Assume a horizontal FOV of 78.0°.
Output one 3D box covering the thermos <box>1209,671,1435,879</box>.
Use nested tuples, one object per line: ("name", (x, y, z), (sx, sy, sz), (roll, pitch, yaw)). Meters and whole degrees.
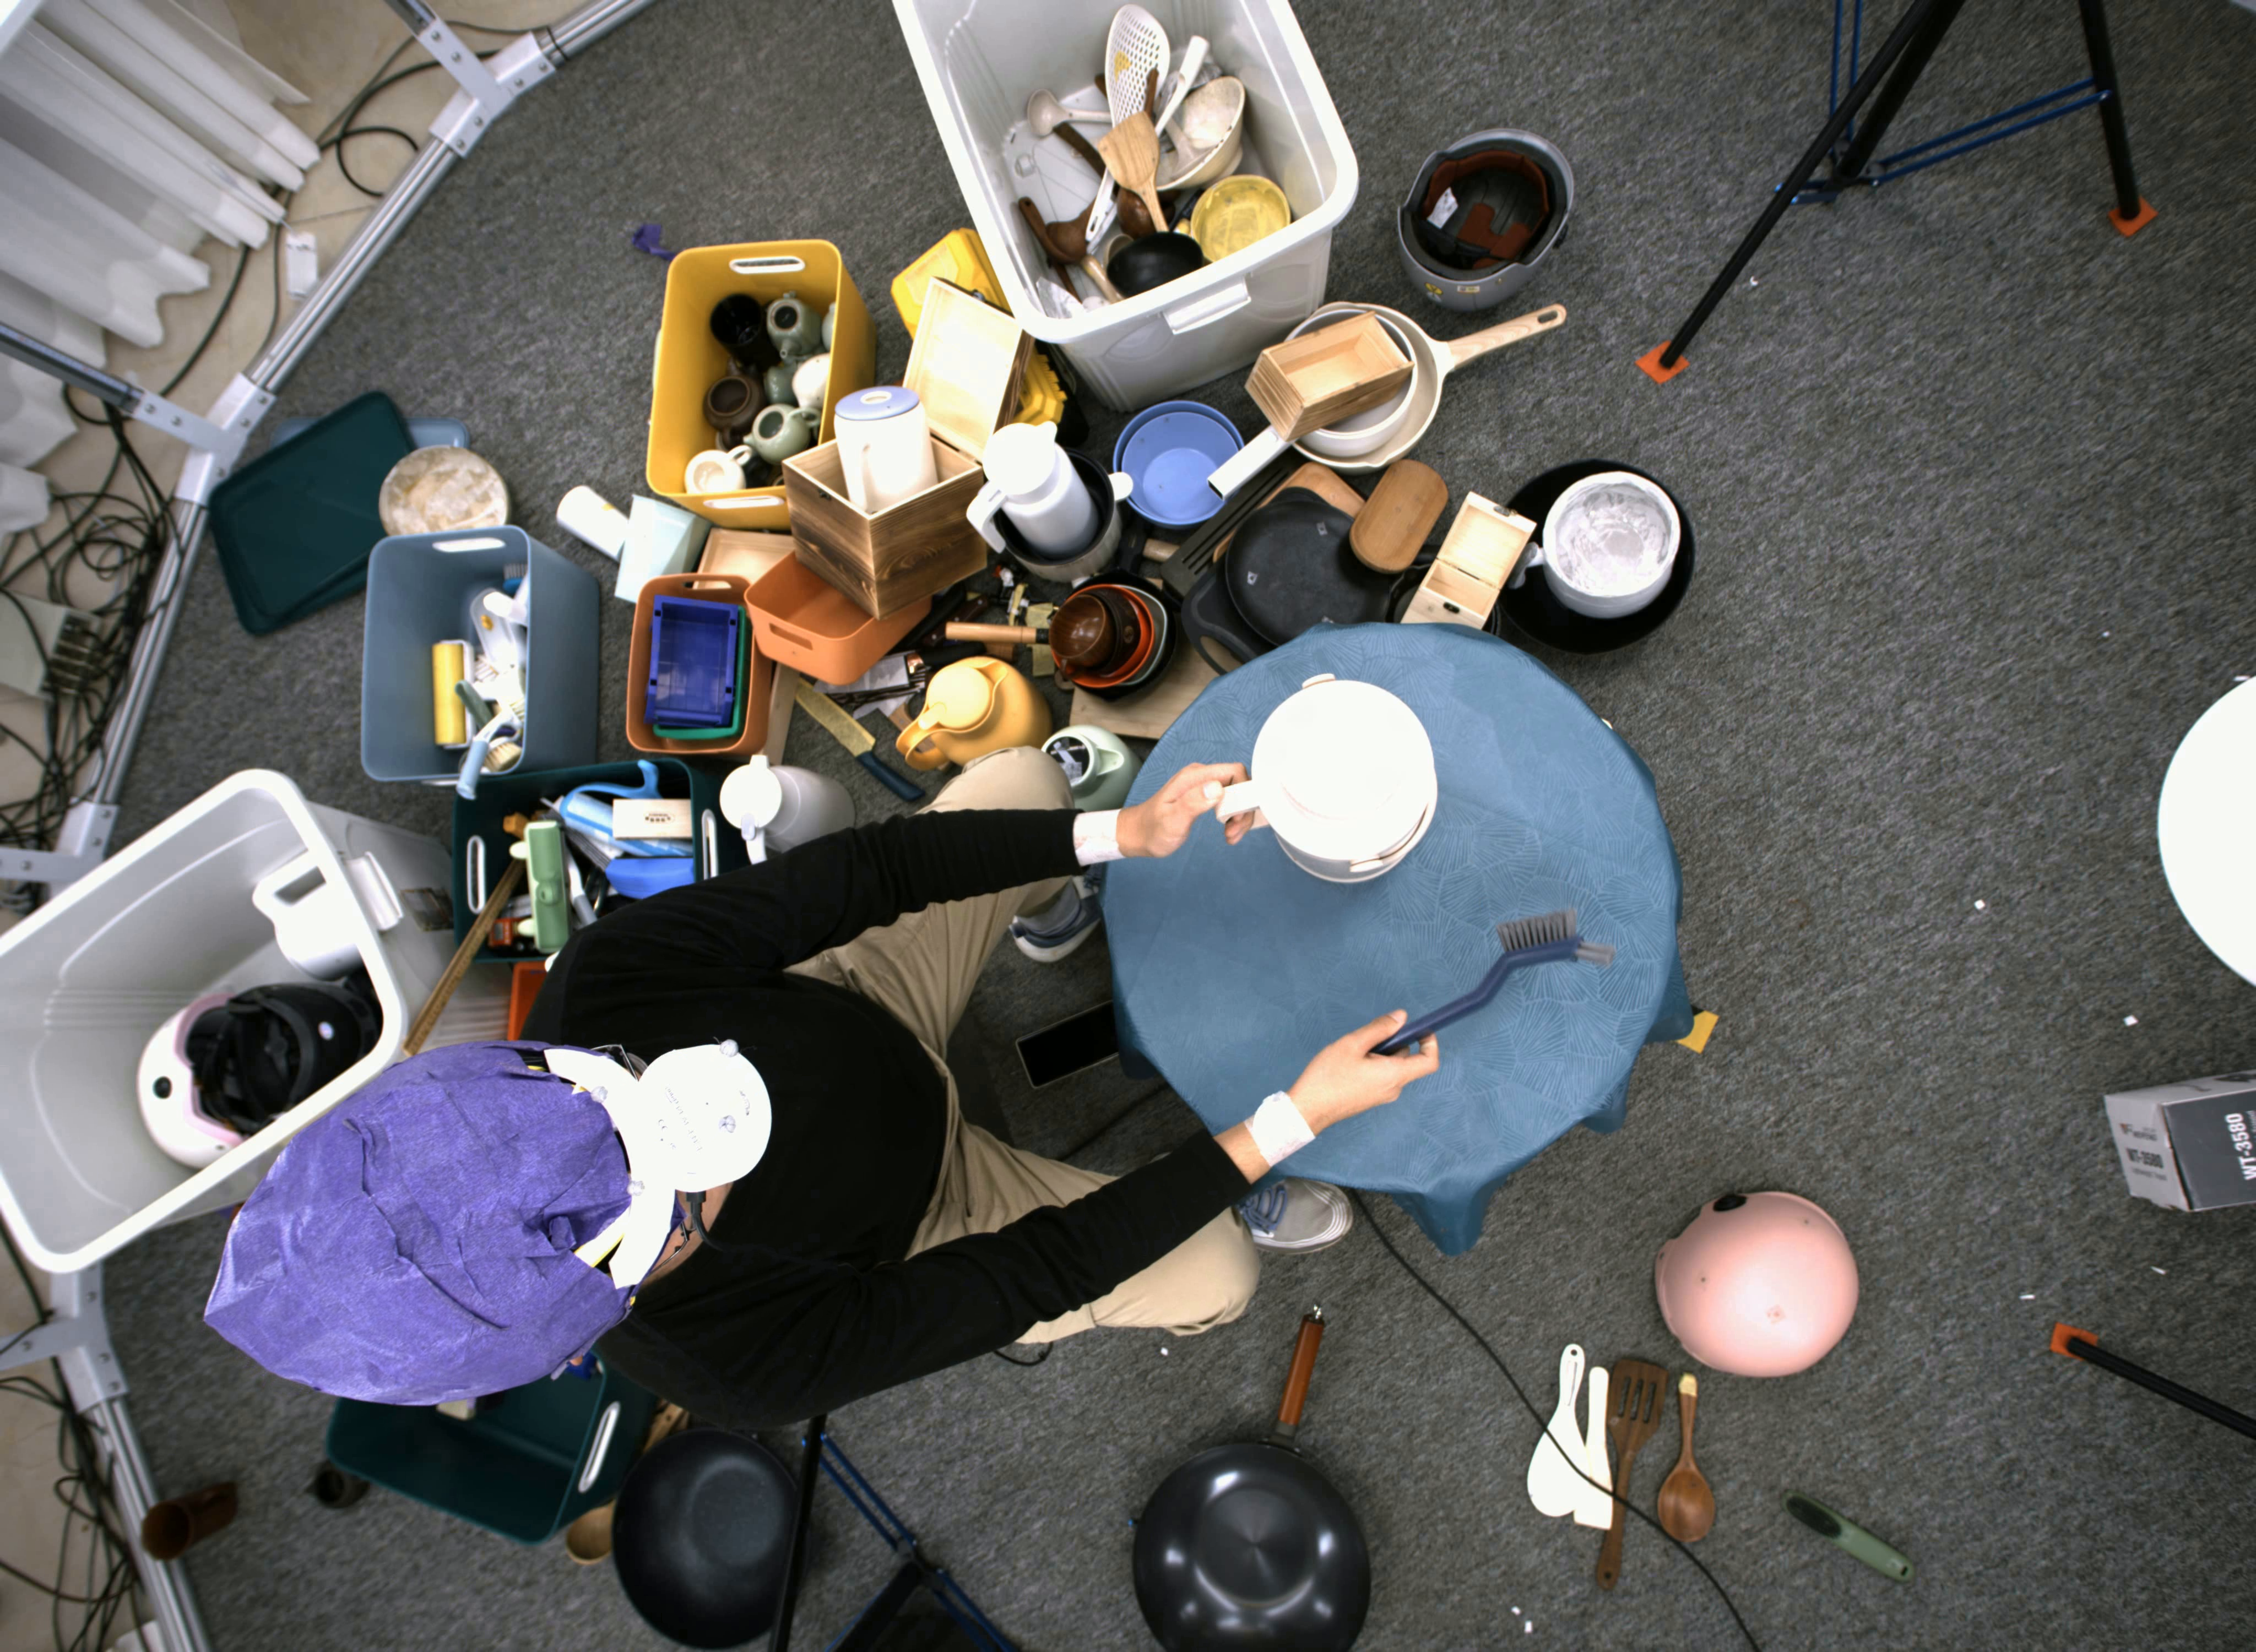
("thermos", (0.185, -0.040, 1.281), (0.208, 0.406, 0.174), (-15, 84, 8))

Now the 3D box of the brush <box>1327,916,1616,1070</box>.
("brush", (0.317, 0.169, 1.294), (0.275, 0.034, 0.094), (-36, 58, 7))
